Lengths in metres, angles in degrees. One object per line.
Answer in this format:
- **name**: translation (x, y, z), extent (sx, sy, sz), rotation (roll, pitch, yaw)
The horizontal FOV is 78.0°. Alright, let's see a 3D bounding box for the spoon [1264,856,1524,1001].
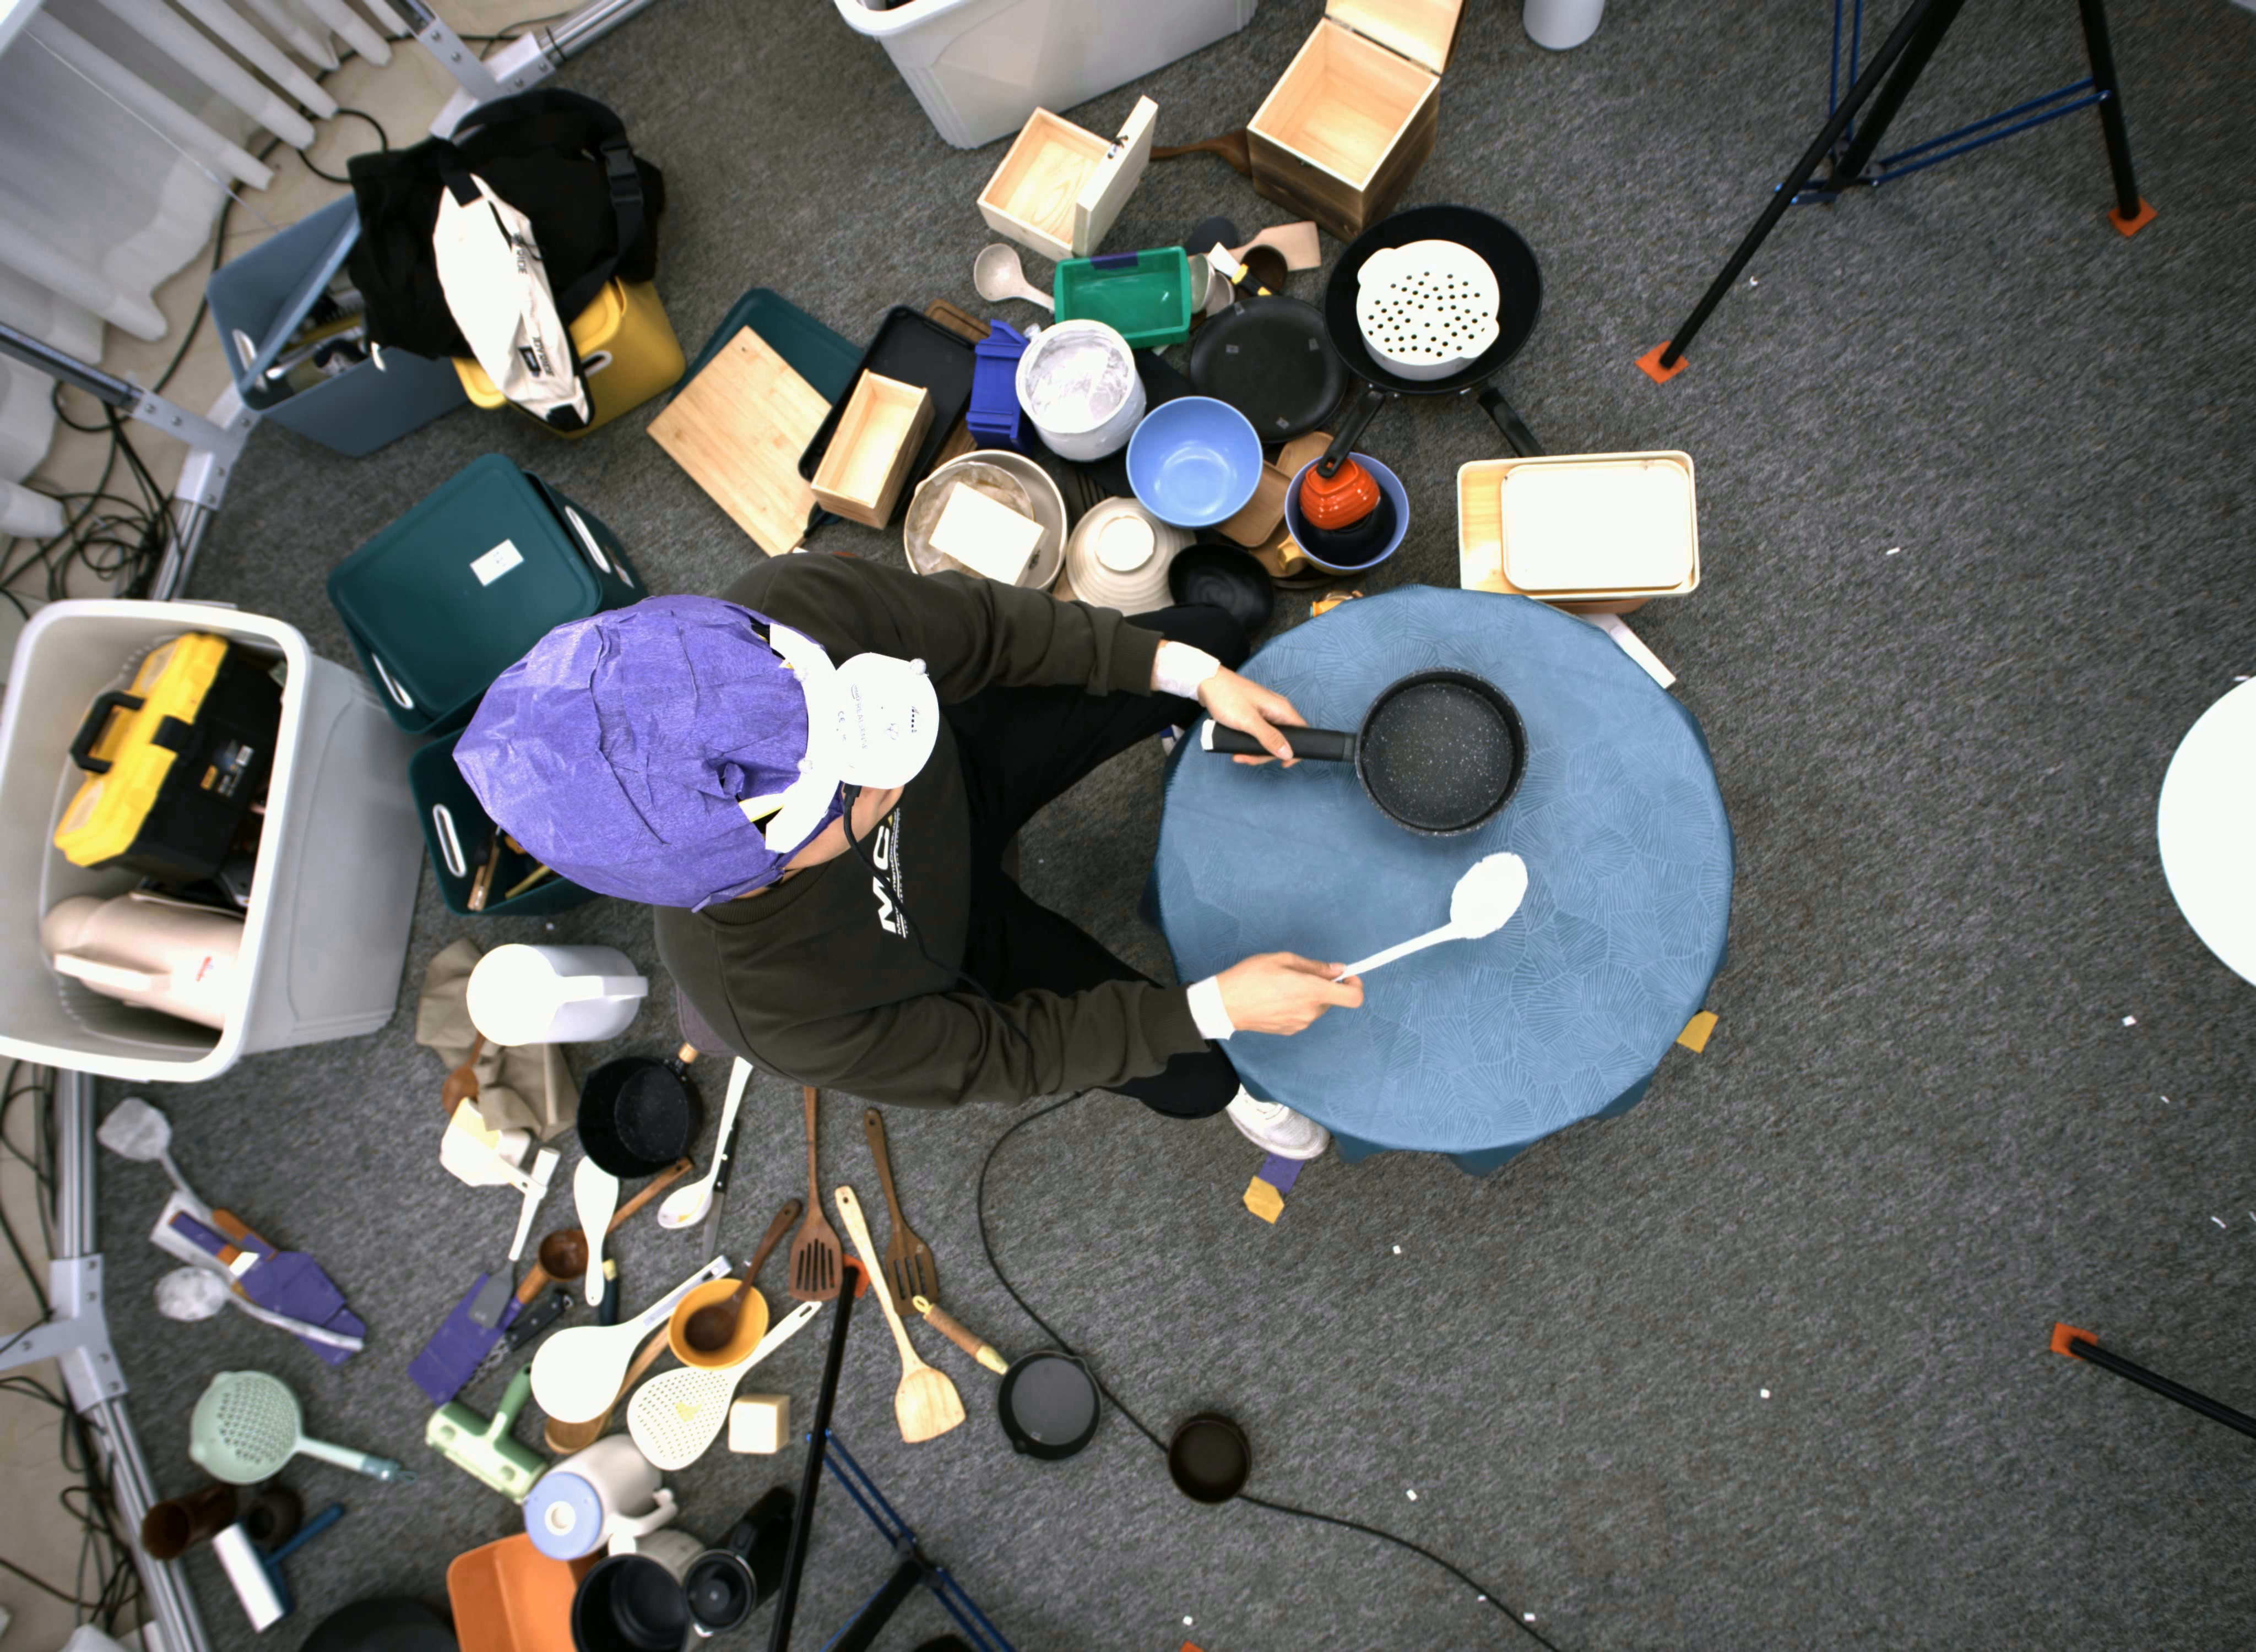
- **spoon**: translation (0.259, 0.100, 1.362), extent (0.278, 0.099, 0.060), rotation (-19, 116, 2)

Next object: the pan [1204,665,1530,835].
- **pan**: translation (0.244, -0.086, 1.425), extent (0.329, 0.086, 0.172), rotation (7, 91, 9)
